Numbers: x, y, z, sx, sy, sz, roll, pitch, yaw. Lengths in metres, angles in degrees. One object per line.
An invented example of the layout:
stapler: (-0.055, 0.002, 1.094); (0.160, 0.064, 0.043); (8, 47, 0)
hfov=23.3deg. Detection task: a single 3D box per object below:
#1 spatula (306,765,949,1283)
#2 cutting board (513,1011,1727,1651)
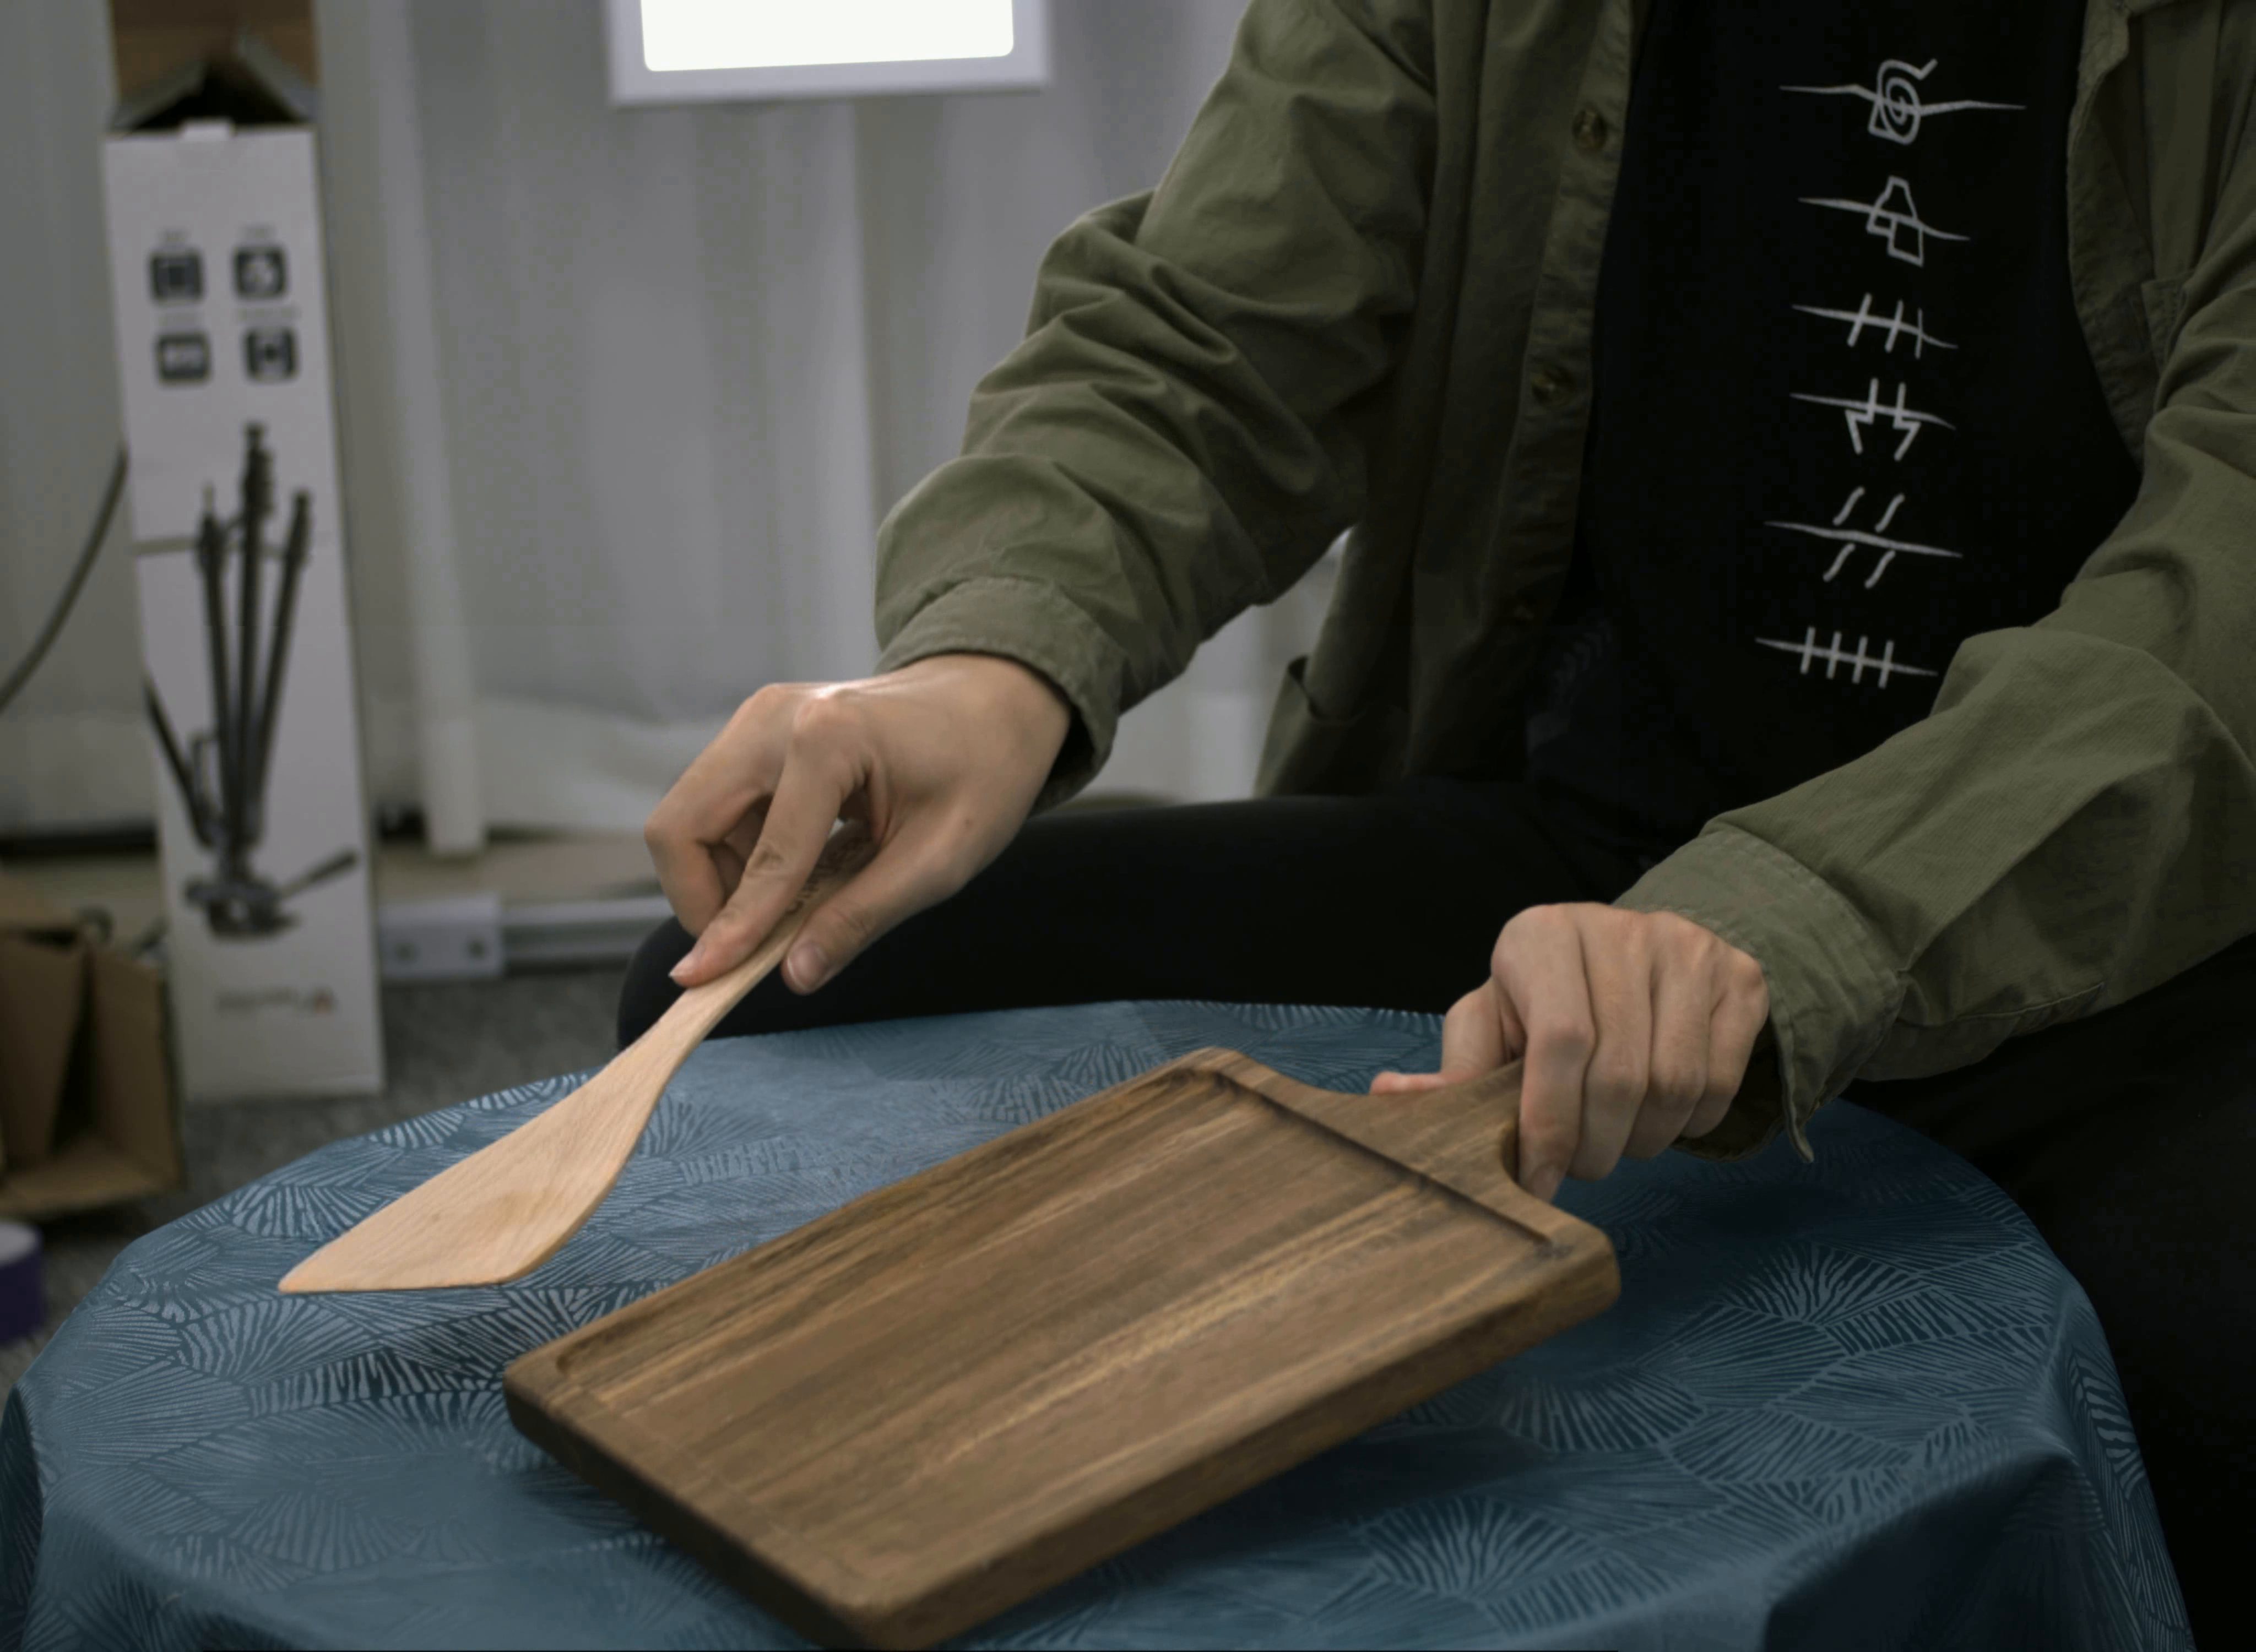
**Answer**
spatula: (-0.136, 0.058, 1.692); (0.080, 0.016, 0.330); (0, 29, 29)
cutting board: (0.025, 0.125, 1.504); (0.352, 0.023, 0.203); (-23, 26, -27)
